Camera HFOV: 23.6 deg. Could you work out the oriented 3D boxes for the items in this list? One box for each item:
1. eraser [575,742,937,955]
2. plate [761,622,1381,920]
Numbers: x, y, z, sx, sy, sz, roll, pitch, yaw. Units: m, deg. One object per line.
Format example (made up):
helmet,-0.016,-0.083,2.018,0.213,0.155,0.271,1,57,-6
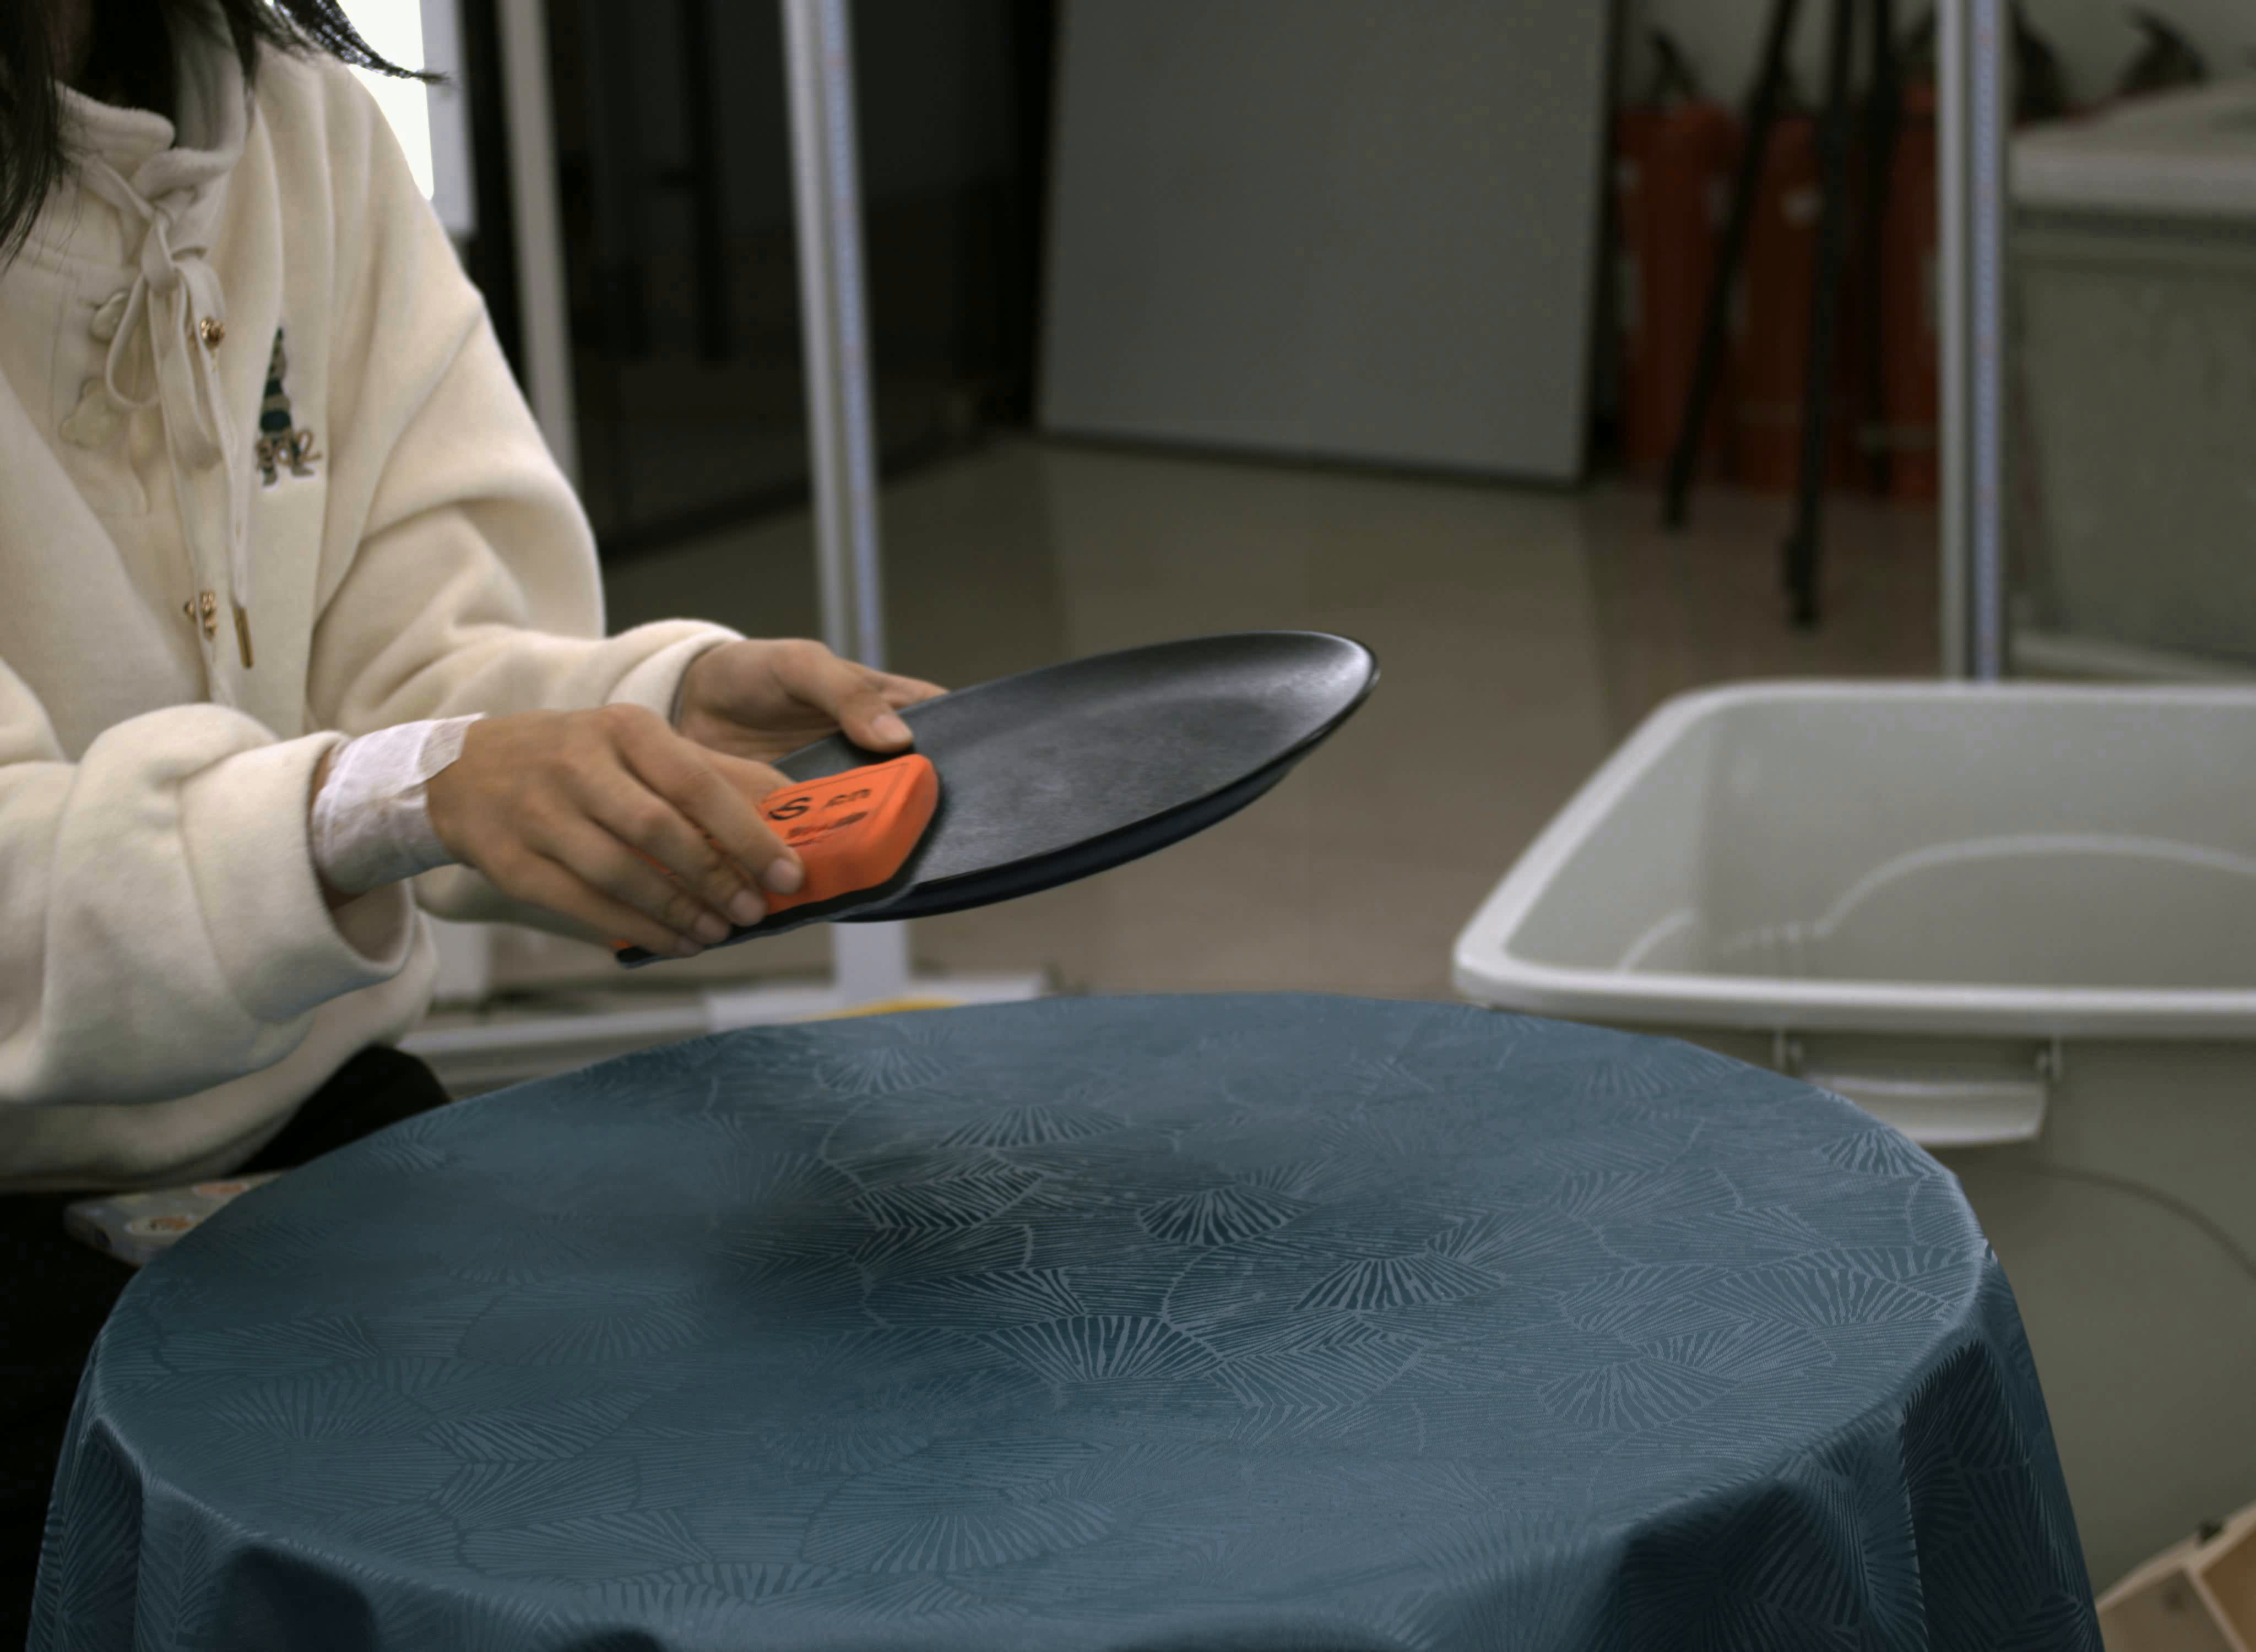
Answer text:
eraser,-0.114,0.007,1.669,0.108,0.023,0.059,-13,27,25
plate,-0.031,-0.014,1.751,0.242,0.023,0.245,-16,14,3
